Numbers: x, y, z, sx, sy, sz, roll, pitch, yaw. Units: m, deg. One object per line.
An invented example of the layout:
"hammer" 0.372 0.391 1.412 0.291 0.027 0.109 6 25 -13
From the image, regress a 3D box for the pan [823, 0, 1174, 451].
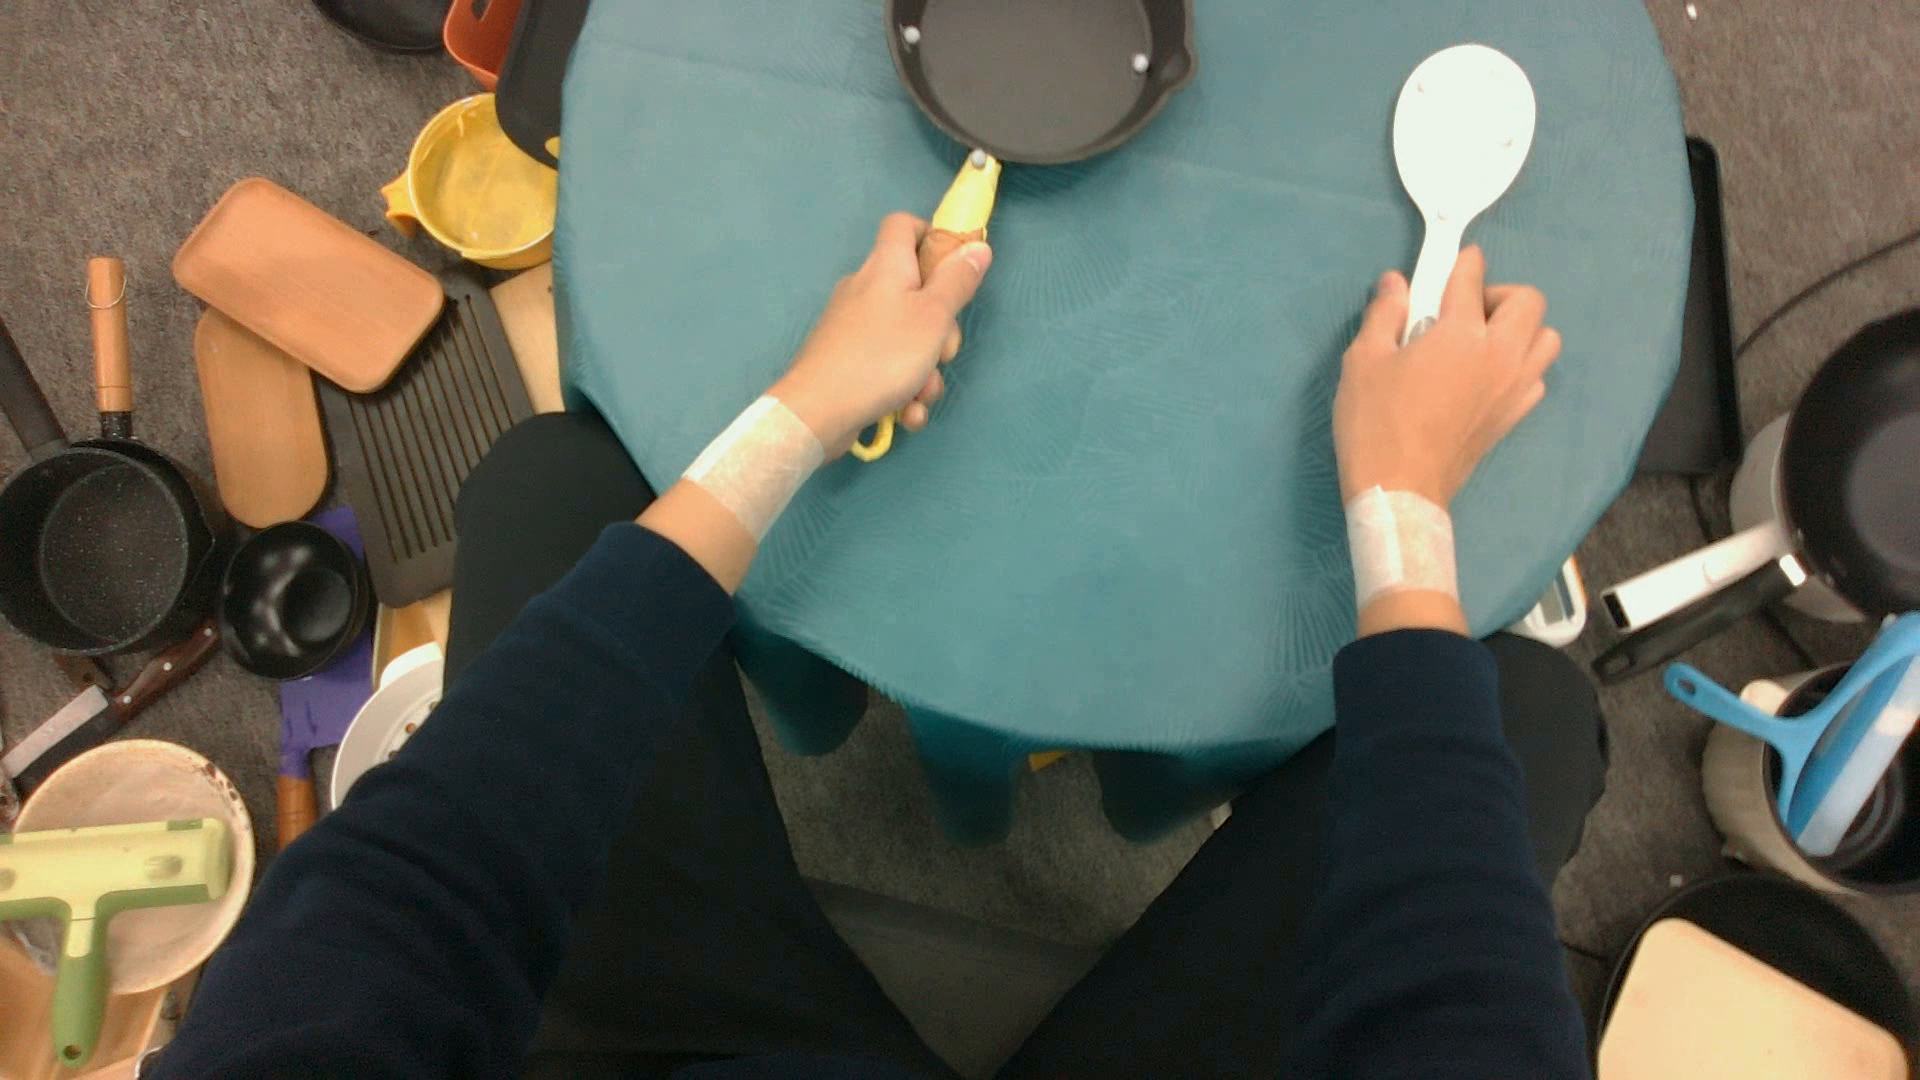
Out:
"pan" -0.001 -0.191 0.701 0.169 0.049 0.325 22 79 2

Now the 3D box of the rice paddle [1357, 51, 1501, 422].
"rice paddle" 0.237 -0.163 0.715 0.069 0.029 0.205 10 80 10
